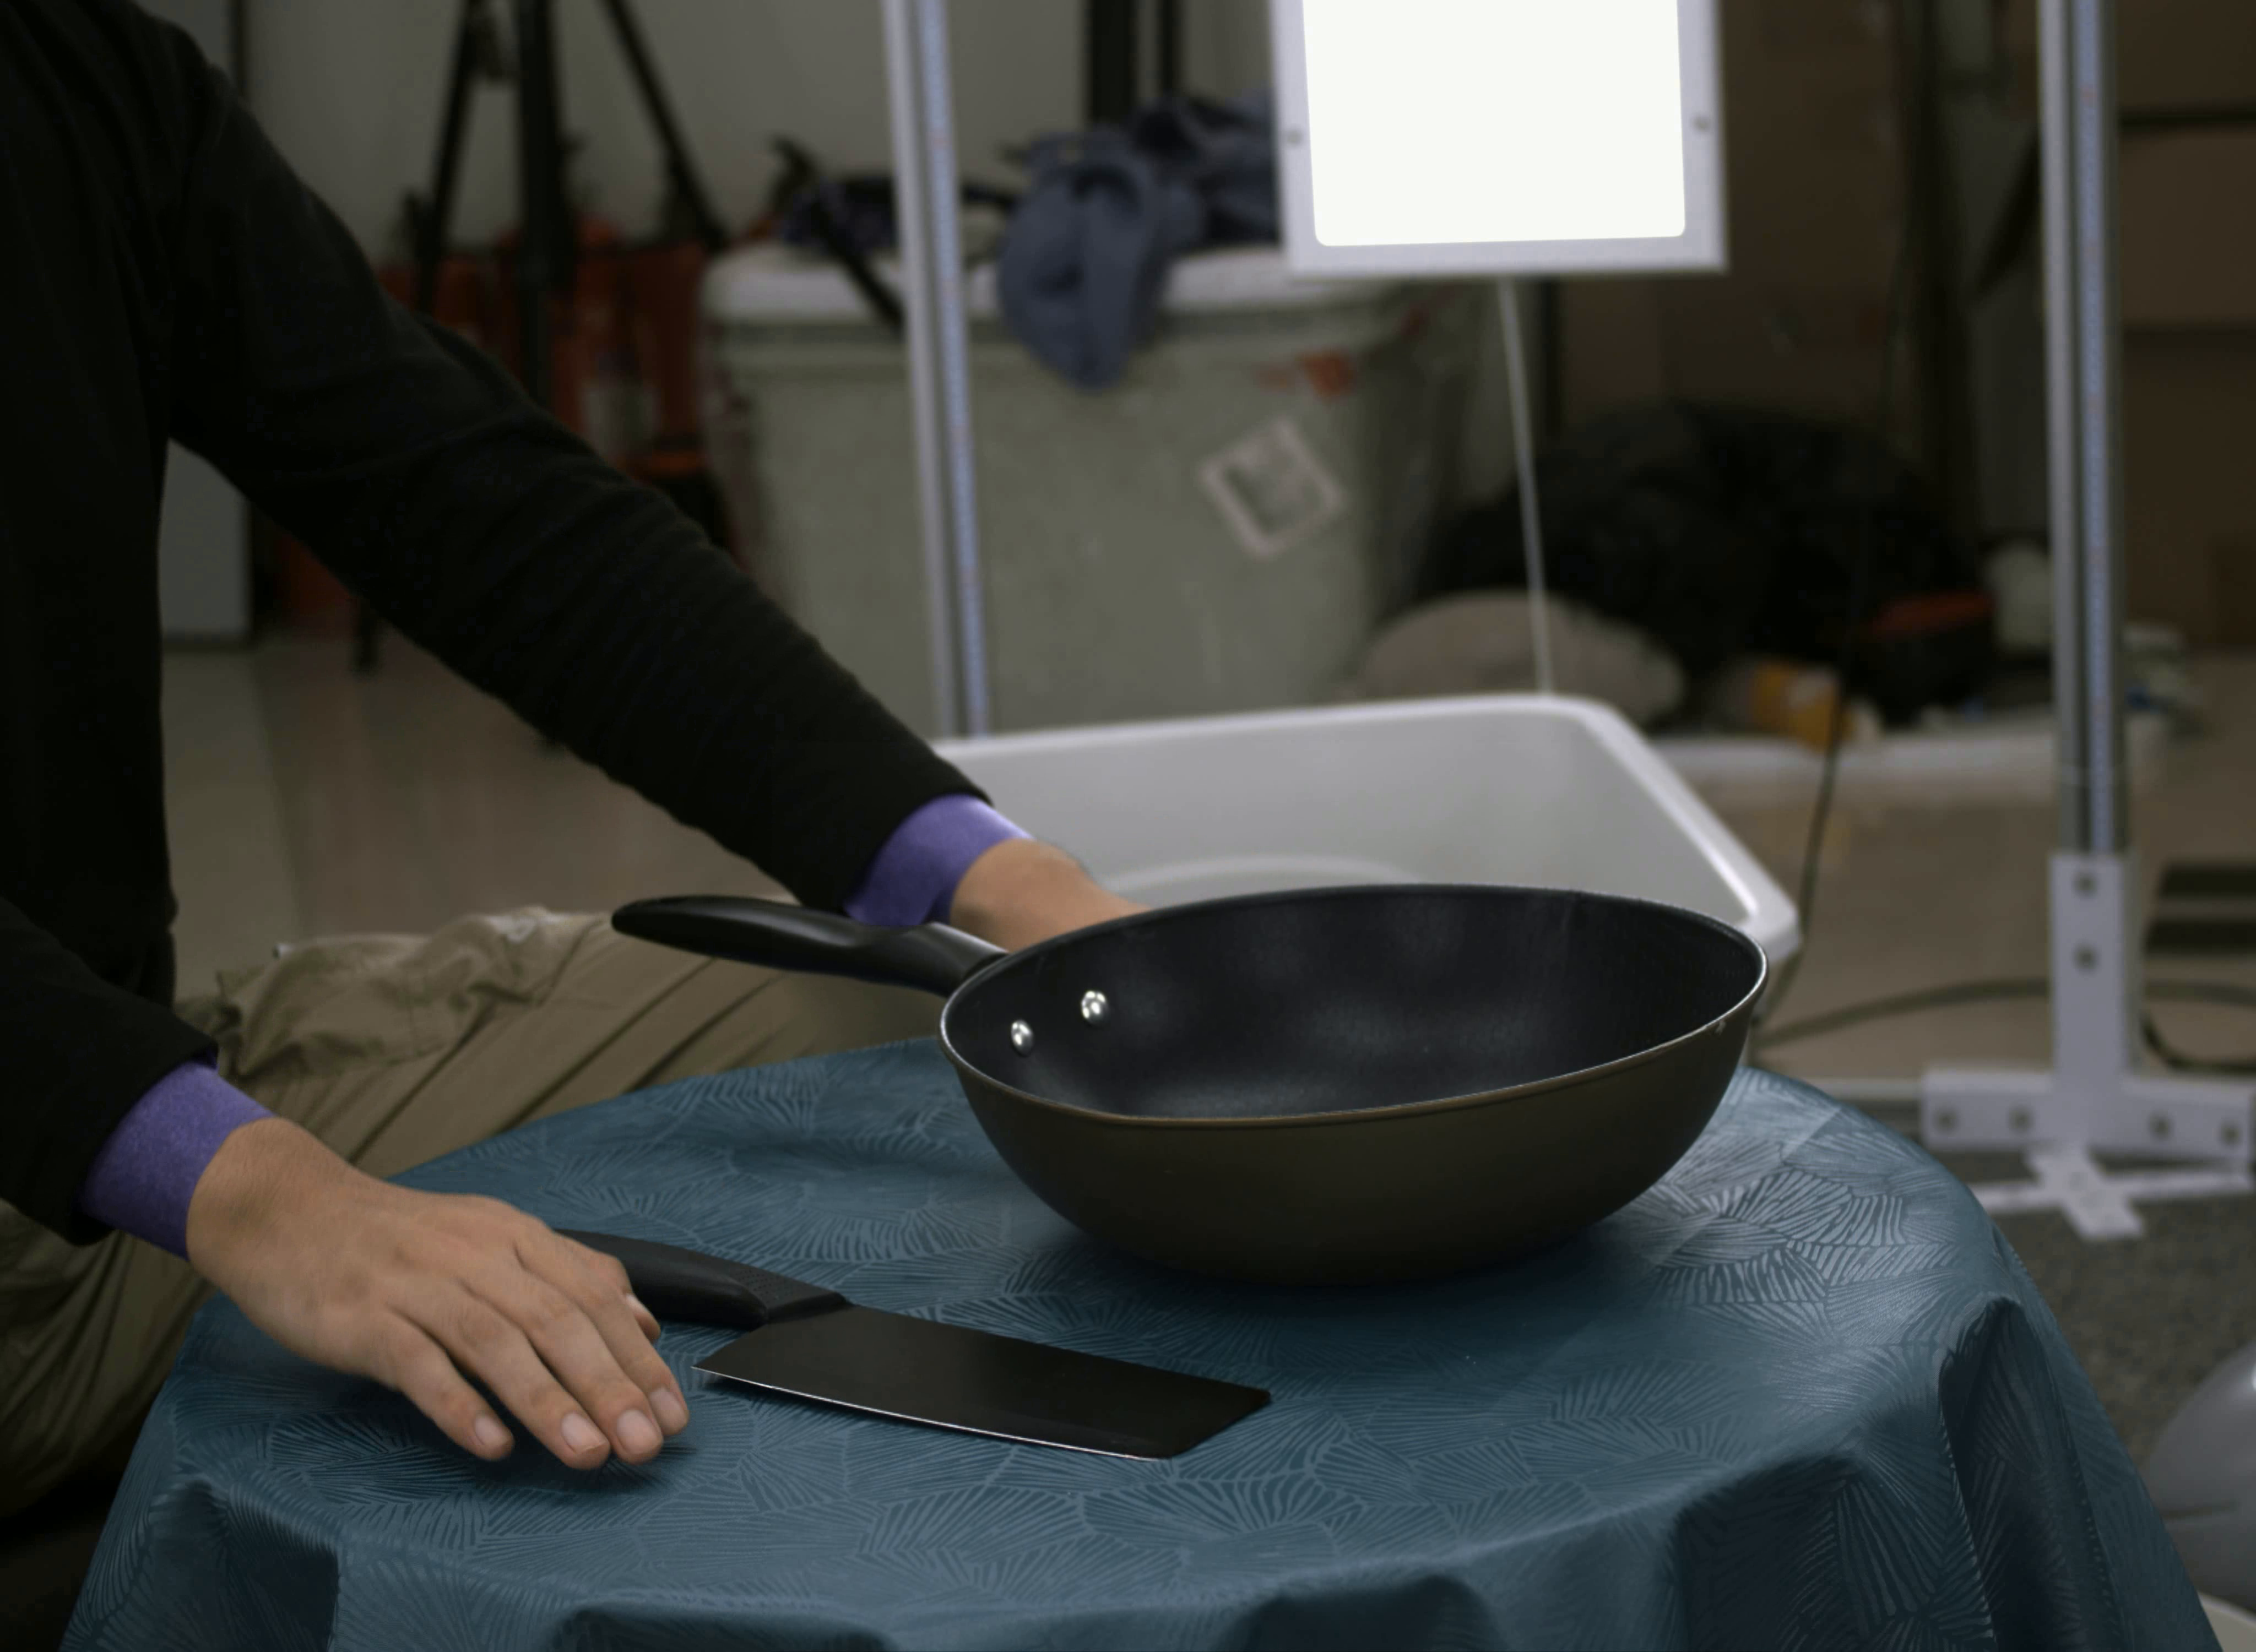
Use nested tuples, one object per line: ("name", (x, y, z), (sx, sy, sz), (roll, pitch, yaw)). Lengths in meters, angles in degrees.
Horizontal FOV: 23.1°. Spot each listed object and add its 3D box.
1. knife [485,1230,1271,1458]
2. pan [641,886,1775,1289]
("knife", (-0.091, 0.164, 1.751), (0.309, 0.021, 0.079), (9, 21, 40))
("pan", (0.006, 0.085, 1.896), (0.473, 0.087, 0.281), (5, 17, 39))
